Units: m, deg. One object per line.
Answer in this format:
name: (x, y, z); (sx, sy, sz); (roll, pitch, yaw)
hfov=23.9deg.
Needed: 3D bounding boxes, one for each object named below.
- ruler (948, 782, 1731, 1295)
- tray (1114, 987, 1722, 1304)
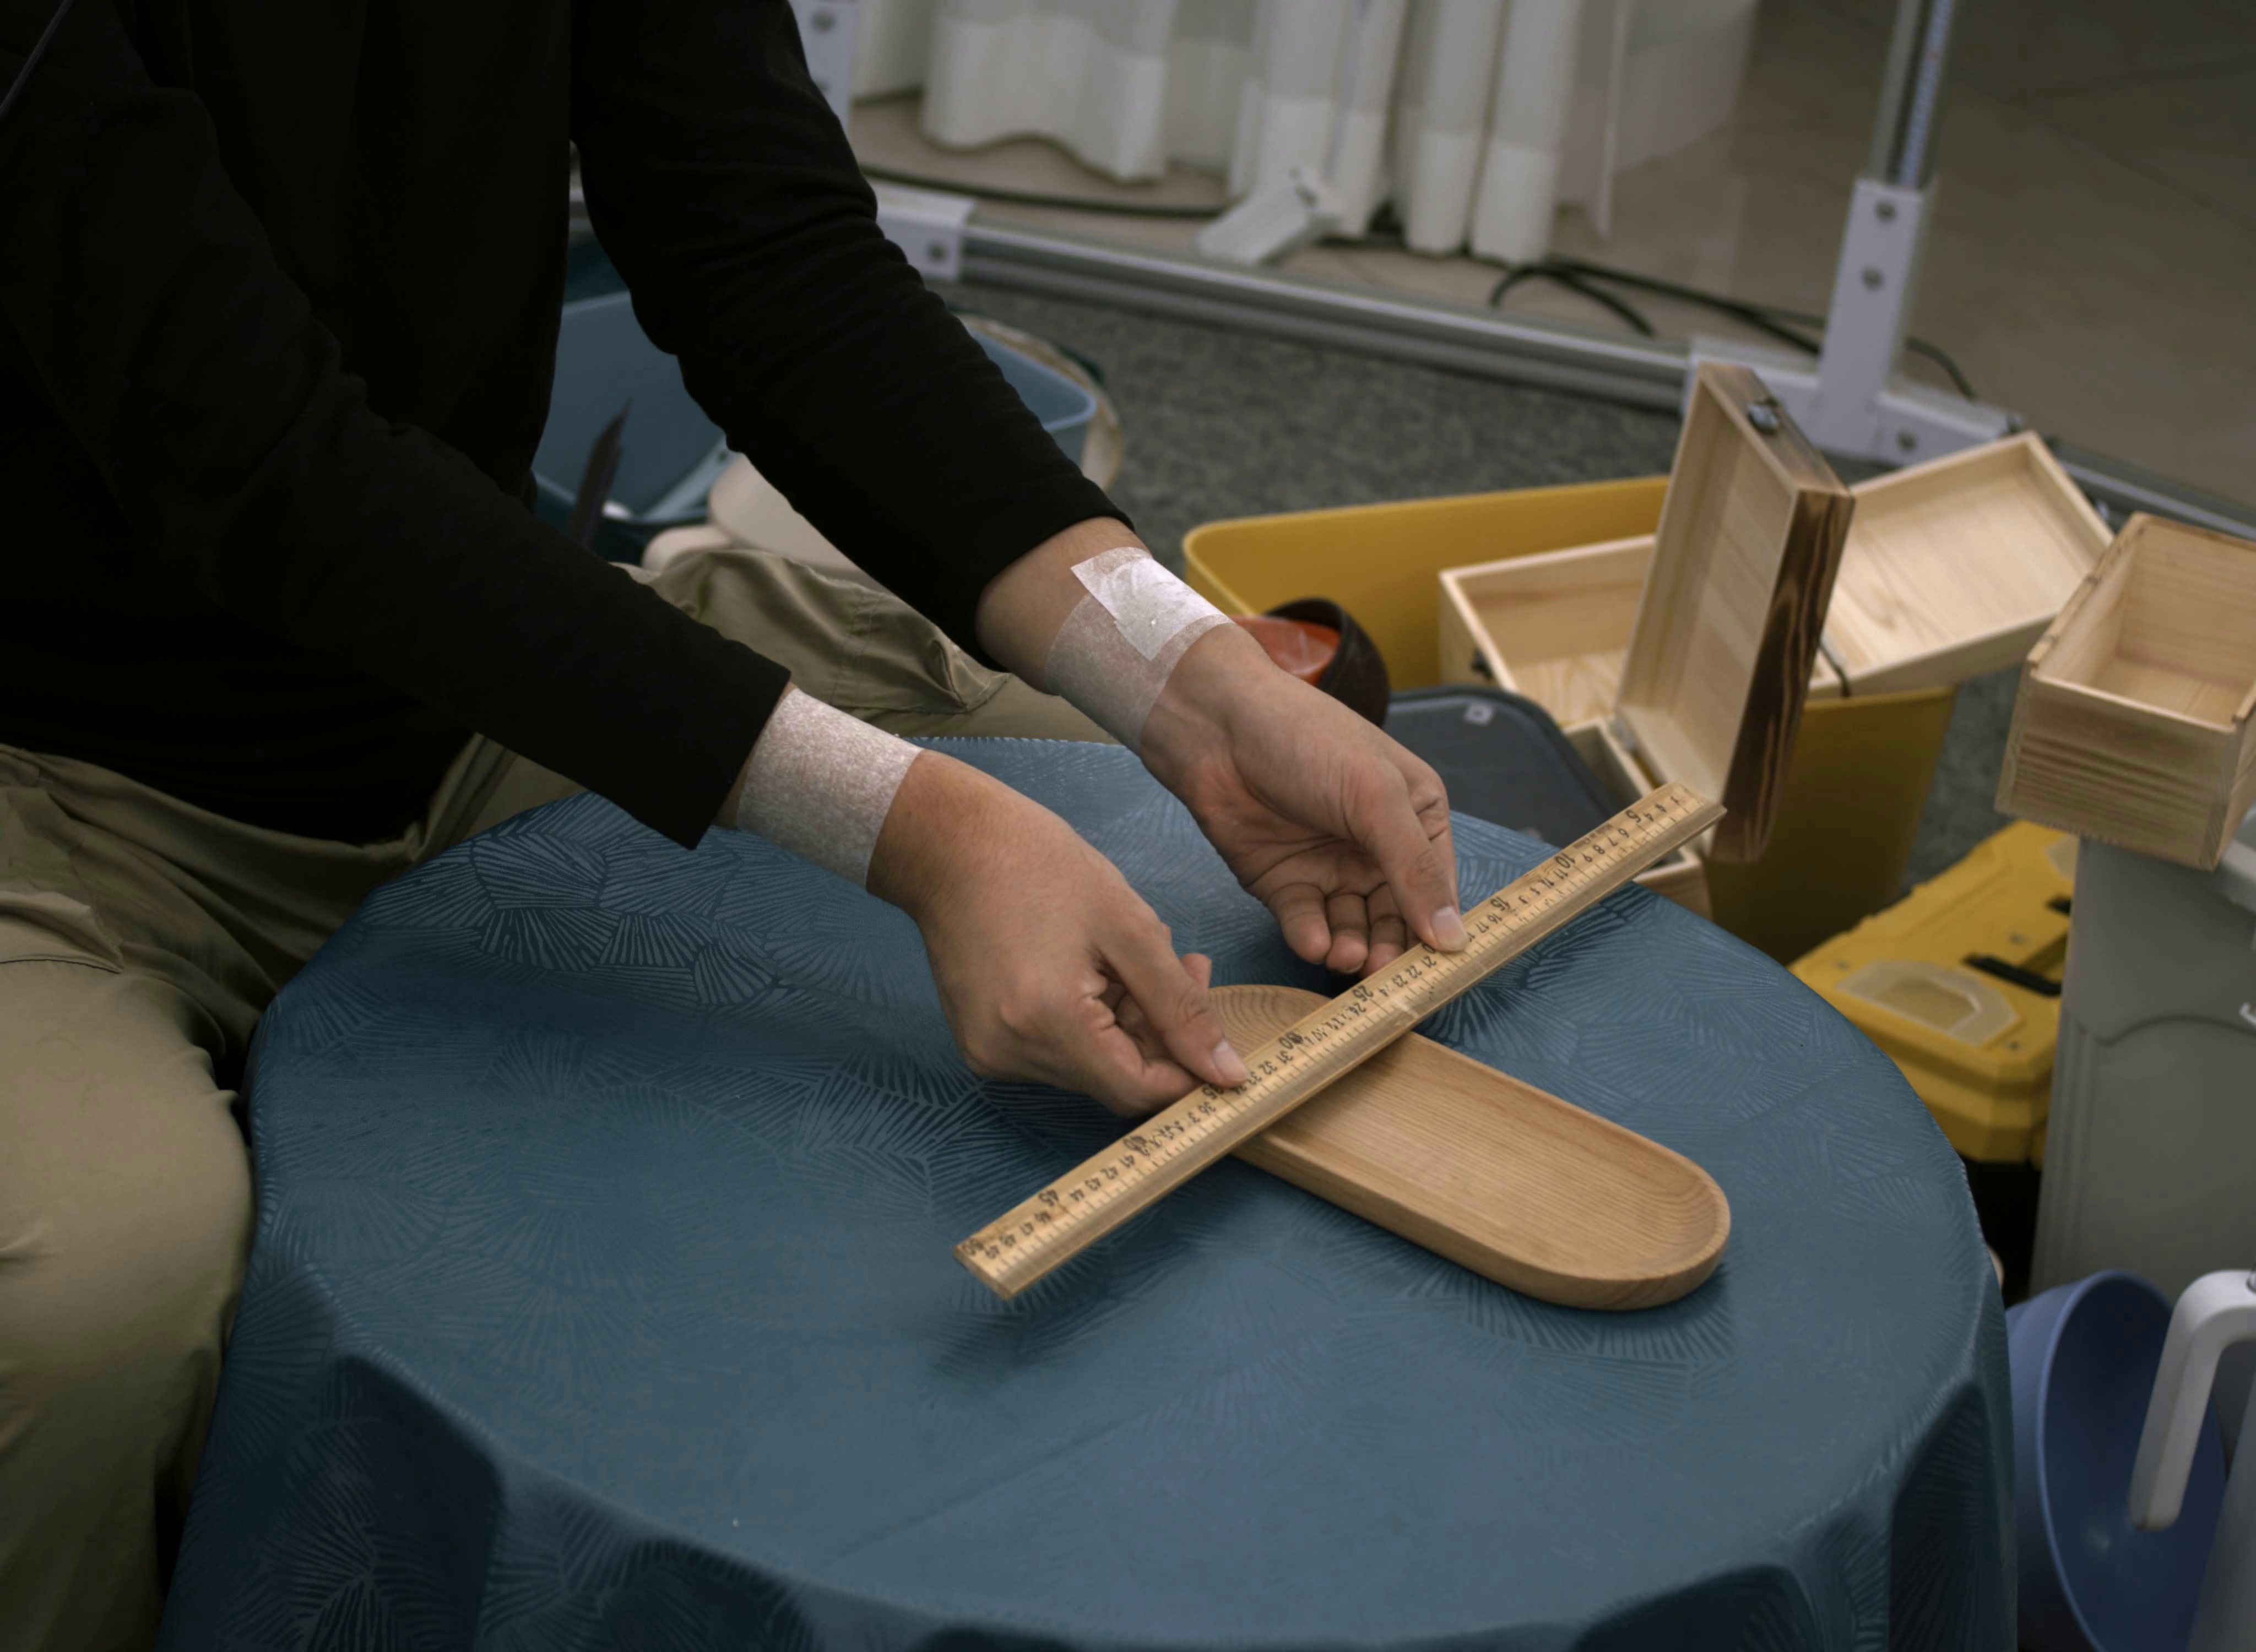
ruler: (0.088, 0.065, 1.887); (0.027, 0.006, 0.499); (36, 35, 19)
tray: (0.098, 0.109, 1.834); (0.232, 0.020, 0.101); (21, 29, 30)
